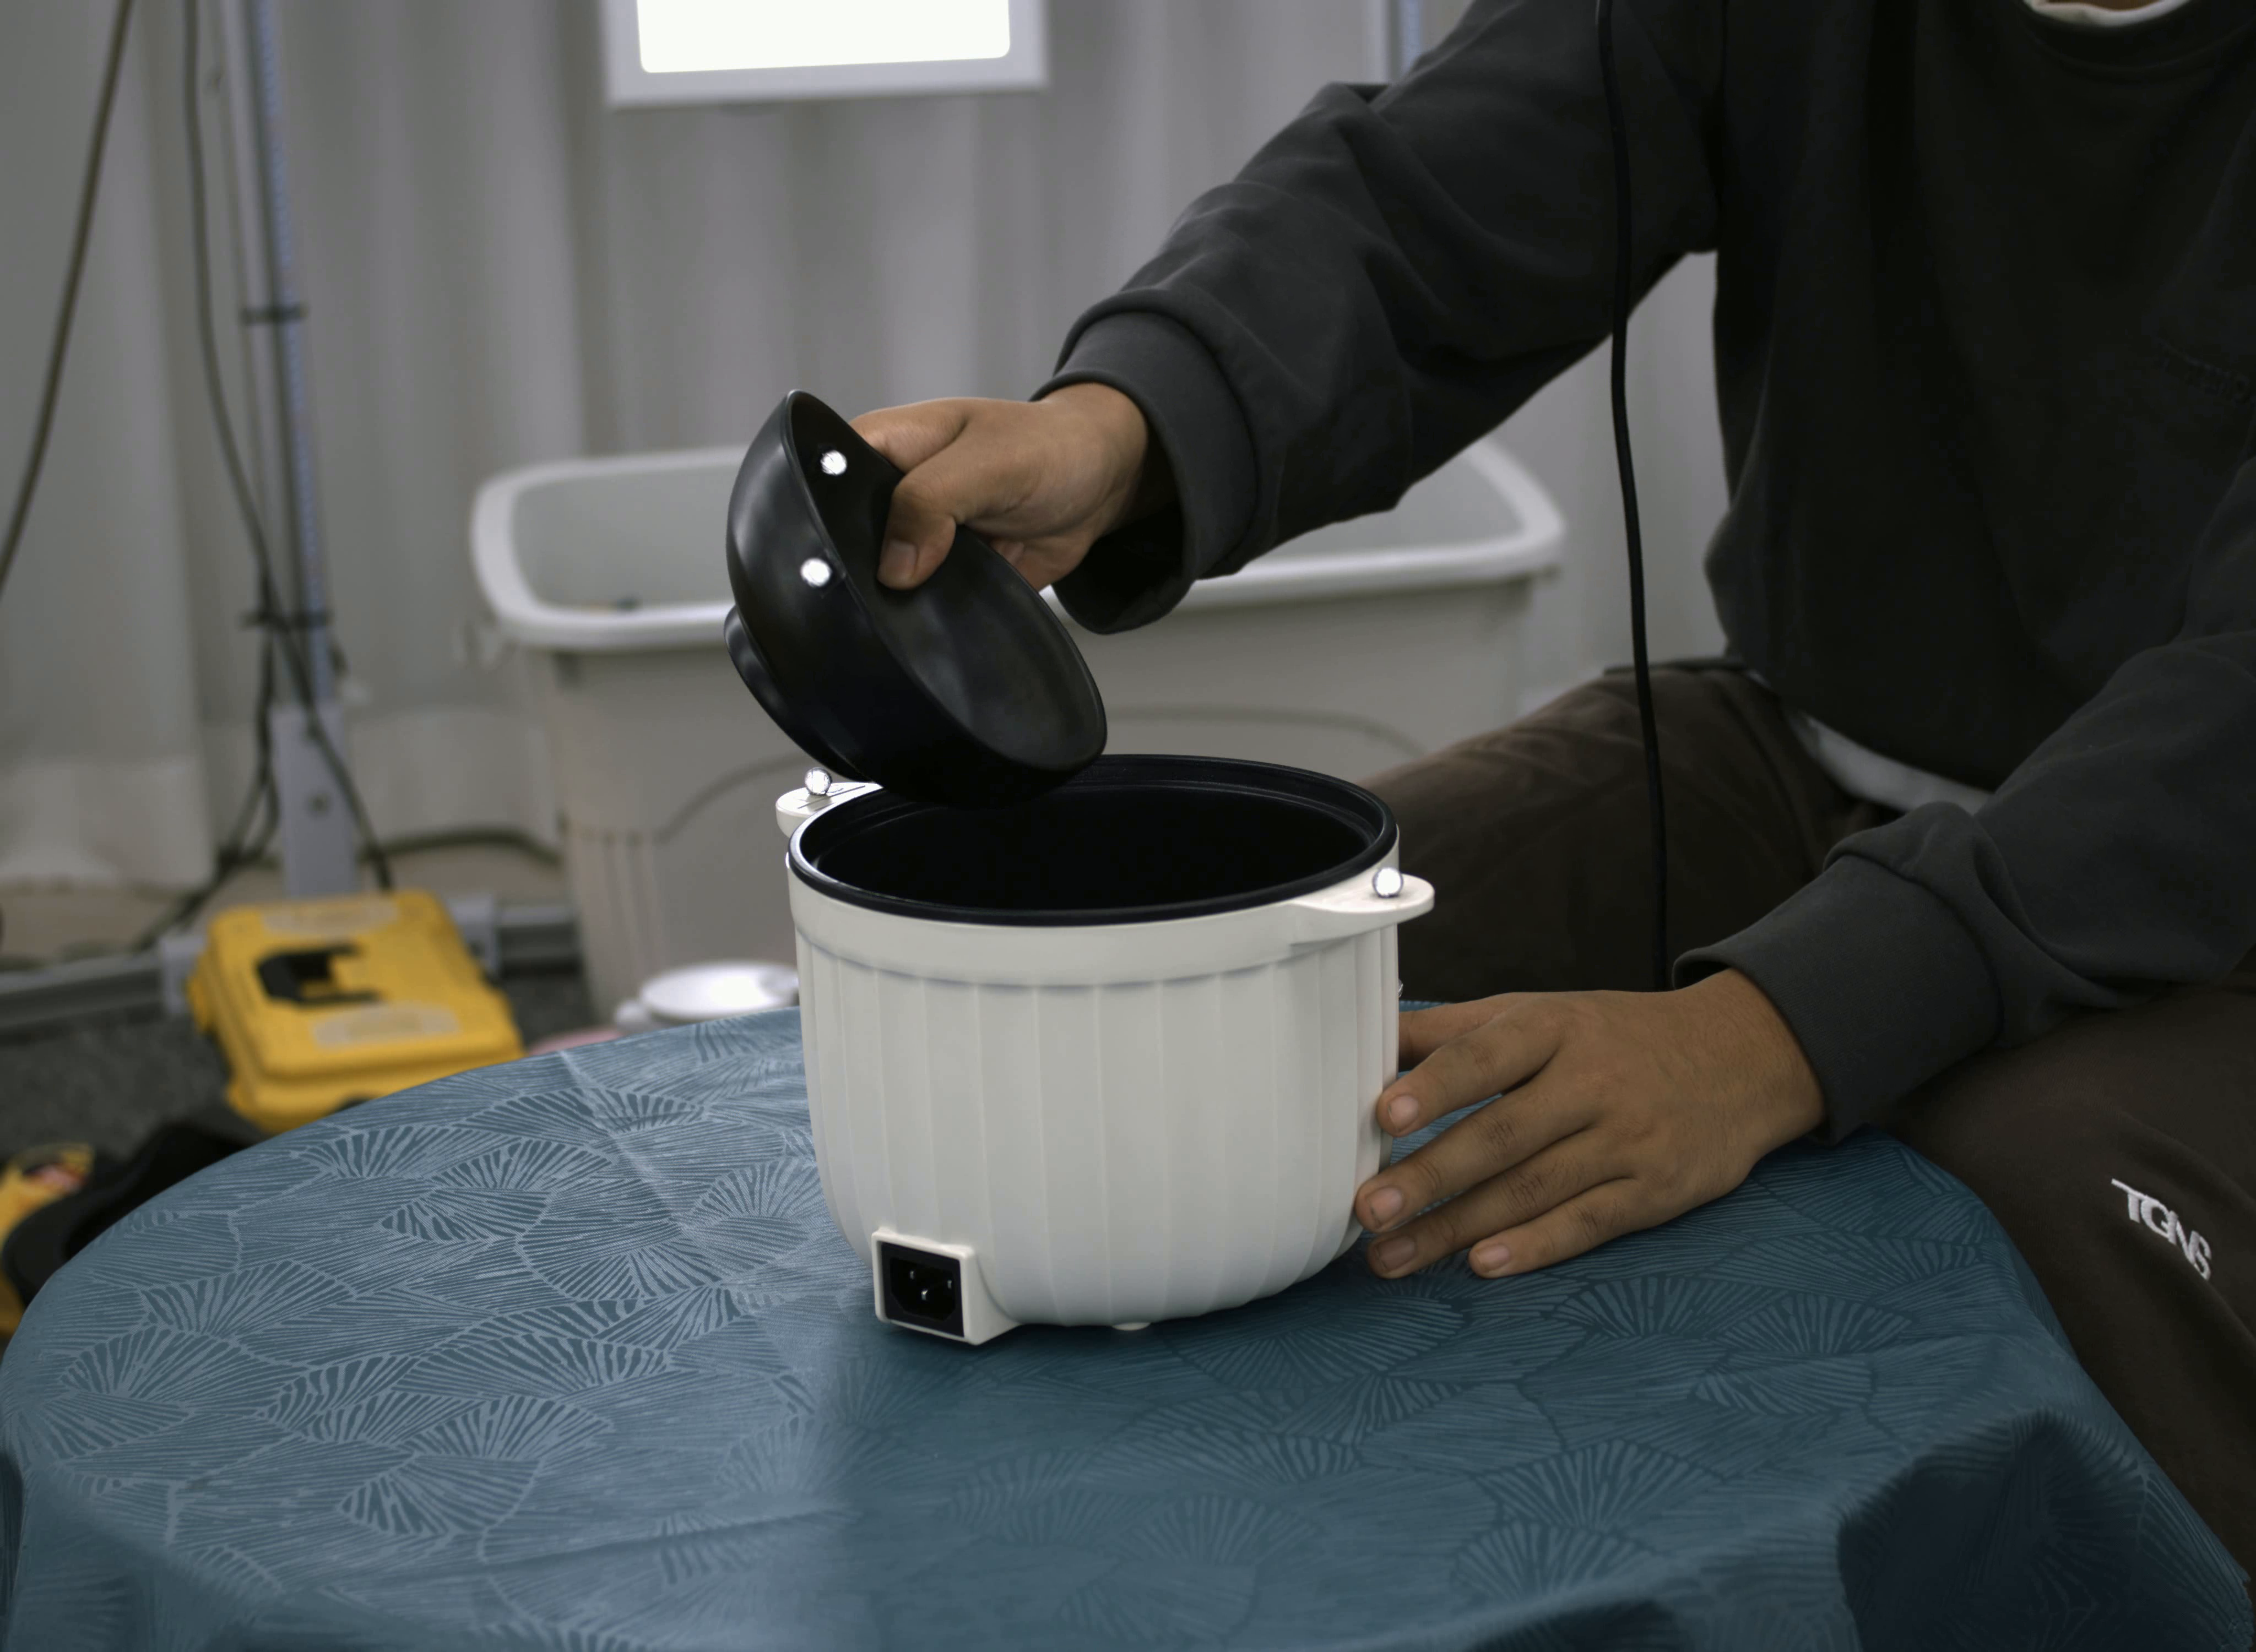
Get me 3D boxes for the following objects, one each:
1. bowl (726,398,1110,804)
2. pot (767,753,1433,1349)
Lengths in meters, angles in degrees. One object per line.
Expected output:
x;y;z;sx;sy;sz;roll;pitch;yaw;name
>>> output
-0.077;-0.059;1.653;0.066;0.136;0.172;-42;29;15;bowl
-0.006;0.064;1.642;0.241;0.142;0.190;10;22;37;pot
